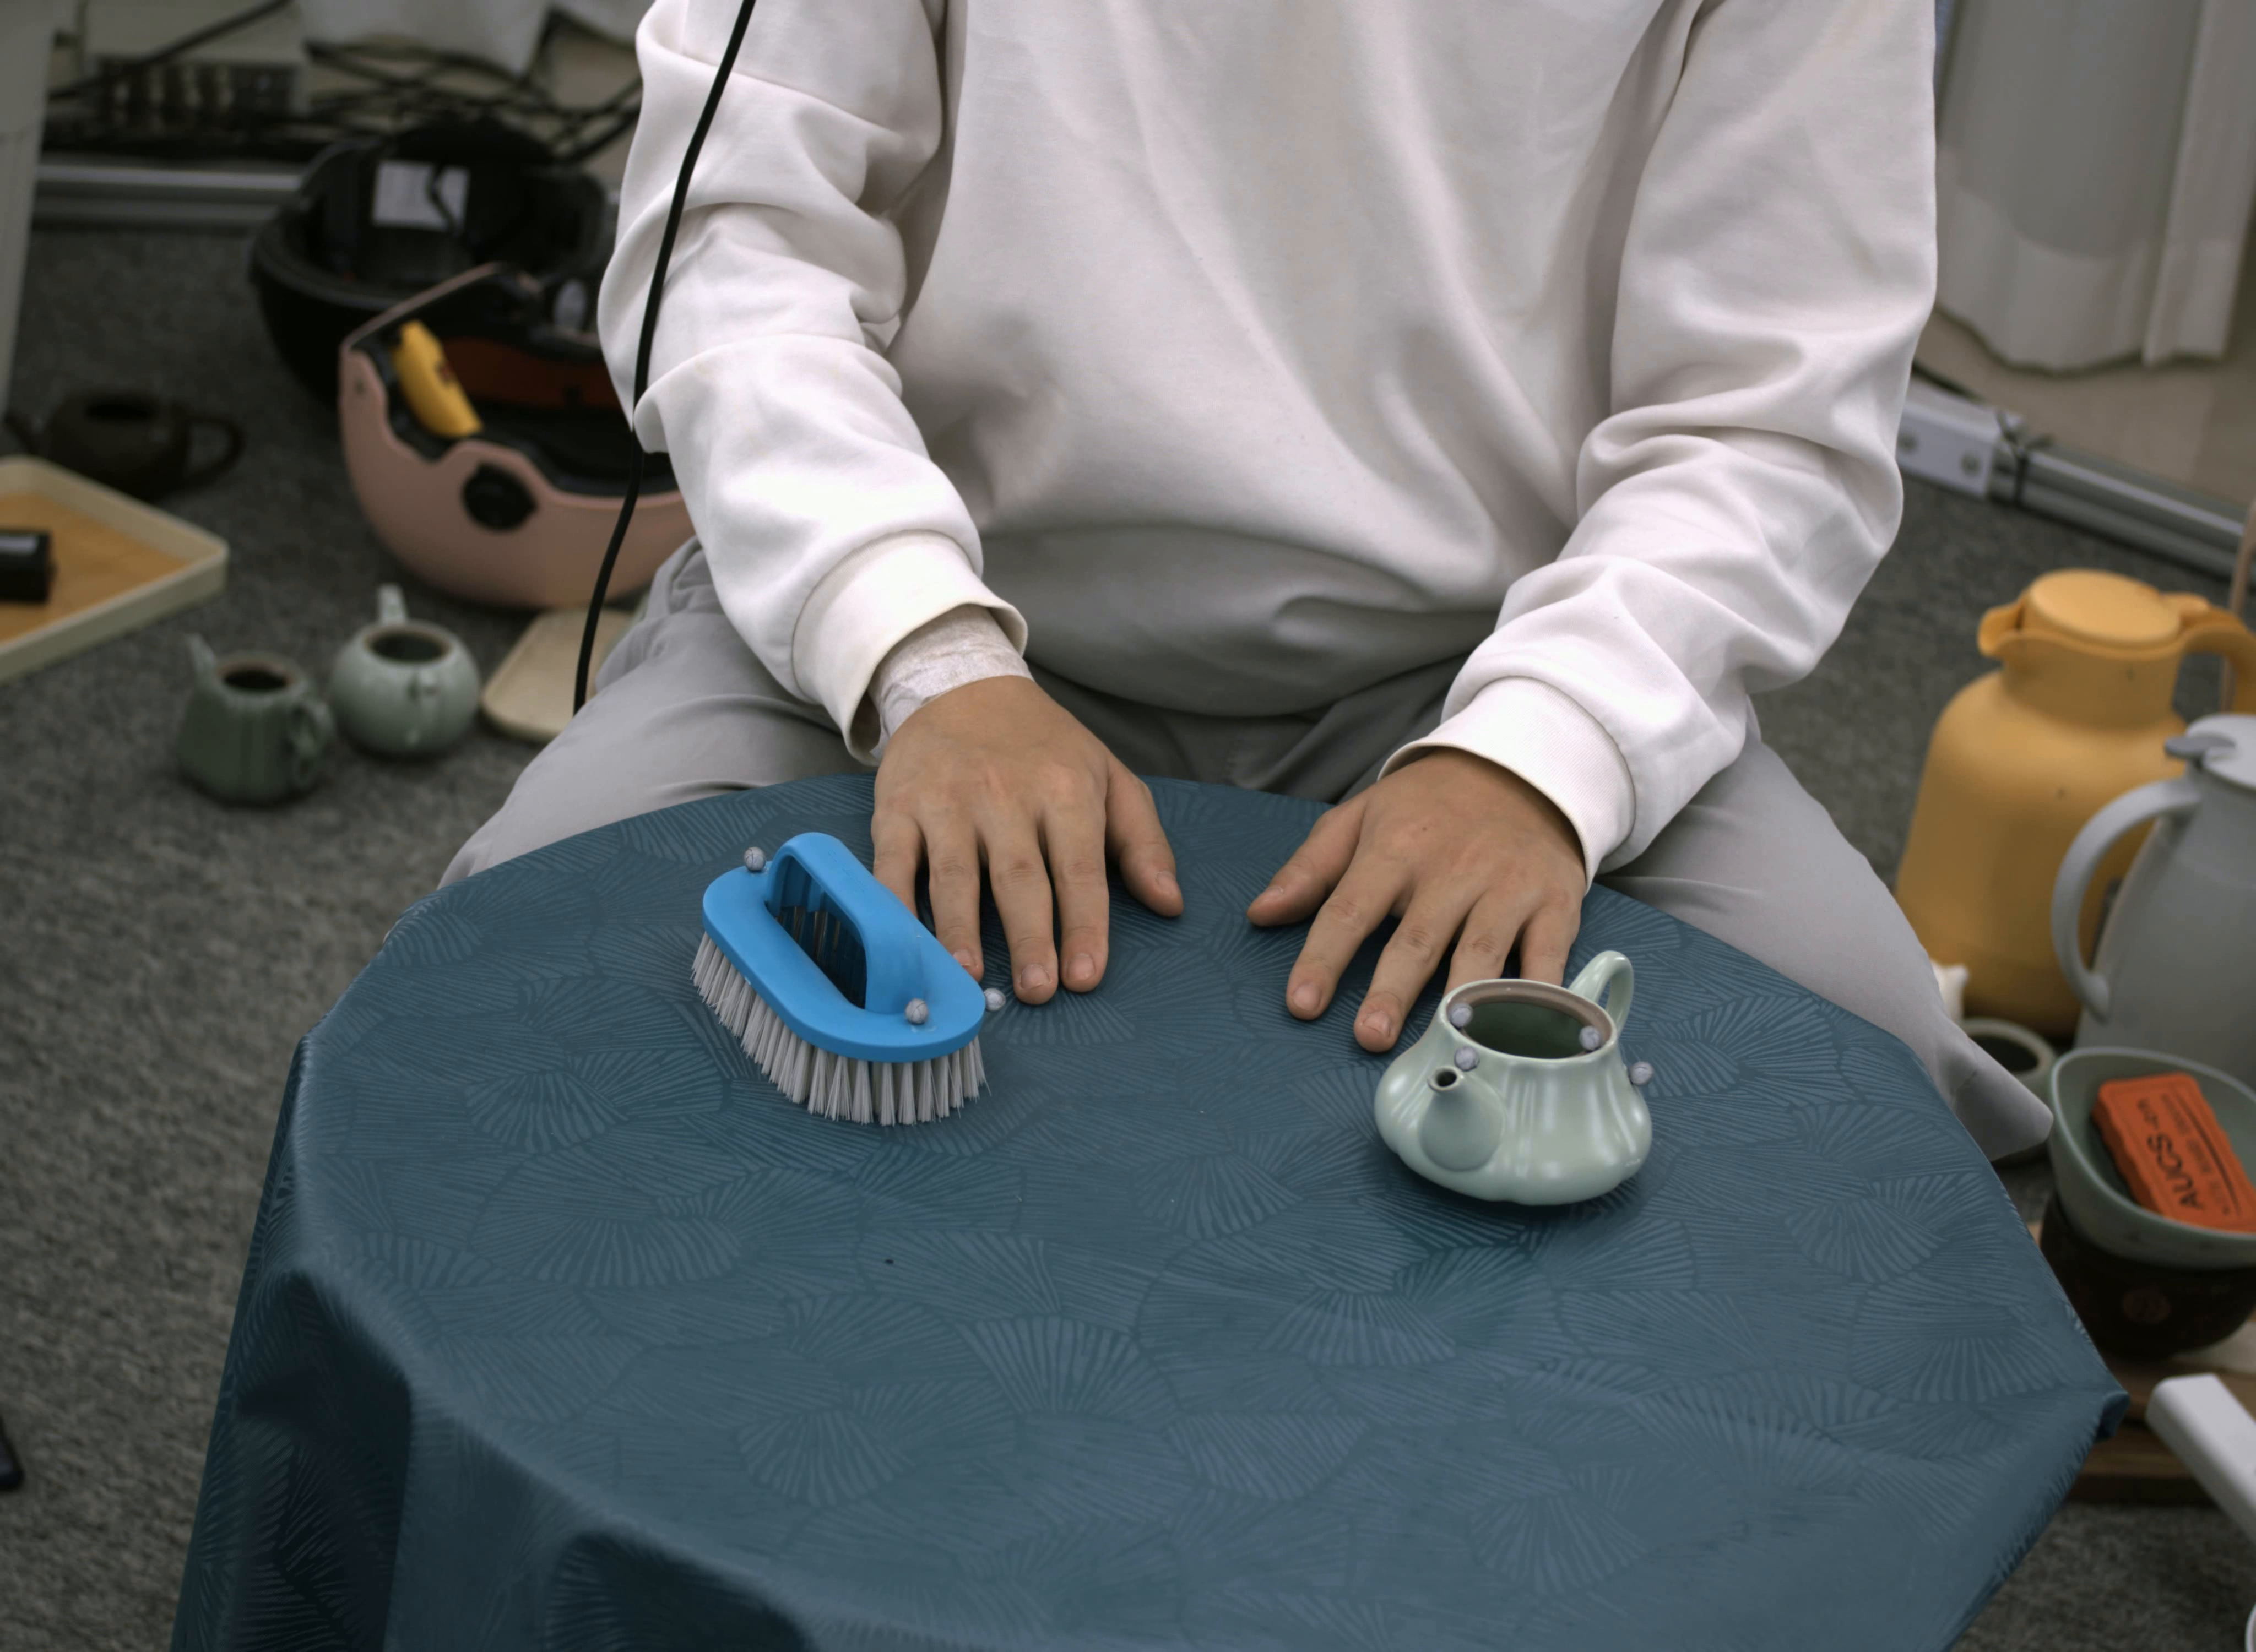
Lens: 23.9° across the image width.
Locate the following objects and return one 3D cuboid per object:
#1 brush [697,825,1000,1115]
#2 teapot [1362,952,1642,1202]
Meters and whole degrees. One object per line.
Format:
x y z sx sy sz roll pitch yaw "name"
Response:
-0.100 0.042 1.872 0.084 0.063 0.143 -11 31 -23 "brush"
0.132 0.089 1.839 0.096 0.061 0.136 16 25 27 "teapot"
